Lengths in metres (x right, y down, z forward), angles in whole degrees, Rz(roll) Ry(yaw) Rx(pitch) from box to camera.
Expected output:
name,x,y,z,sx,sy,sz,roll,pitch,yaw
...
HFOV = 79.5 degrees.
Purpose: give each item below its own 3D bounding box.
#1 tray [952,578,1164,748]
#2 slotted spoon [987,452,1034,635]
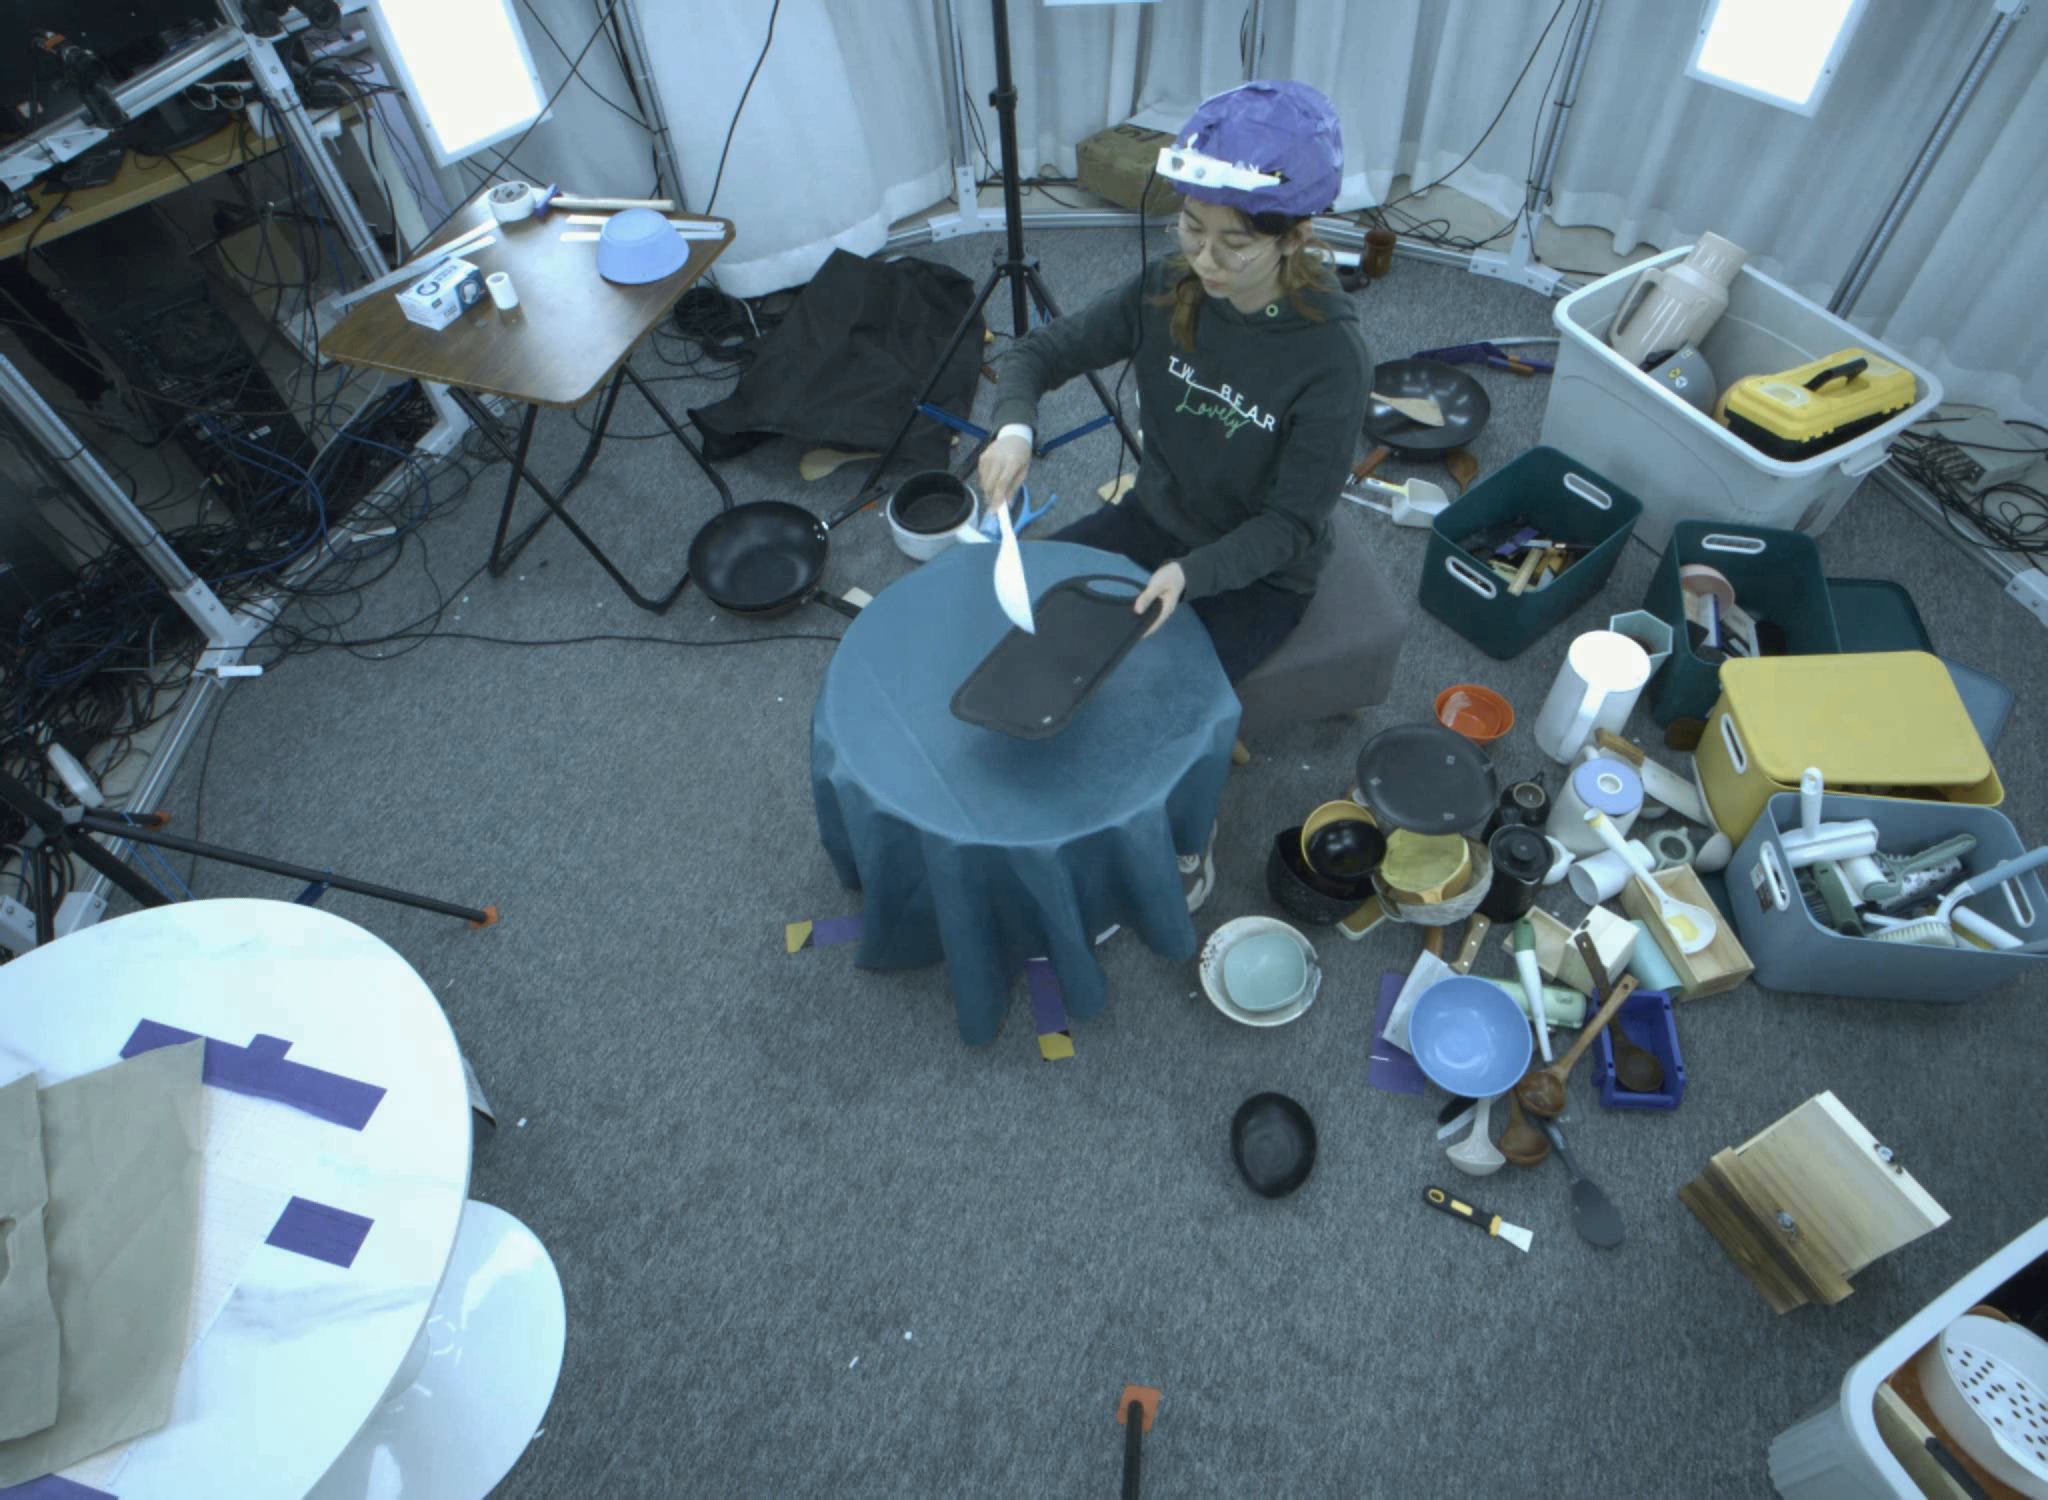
name,x,y,z,sx,sy,sz,roll,pitch,yaw
tray,0.052,-0.135,1.730,0.206,0.010,0.327,20,59,36
slotted spoon,-0.024,-0.306,1.727,0.046,0.138,0.345,-7,53,3
